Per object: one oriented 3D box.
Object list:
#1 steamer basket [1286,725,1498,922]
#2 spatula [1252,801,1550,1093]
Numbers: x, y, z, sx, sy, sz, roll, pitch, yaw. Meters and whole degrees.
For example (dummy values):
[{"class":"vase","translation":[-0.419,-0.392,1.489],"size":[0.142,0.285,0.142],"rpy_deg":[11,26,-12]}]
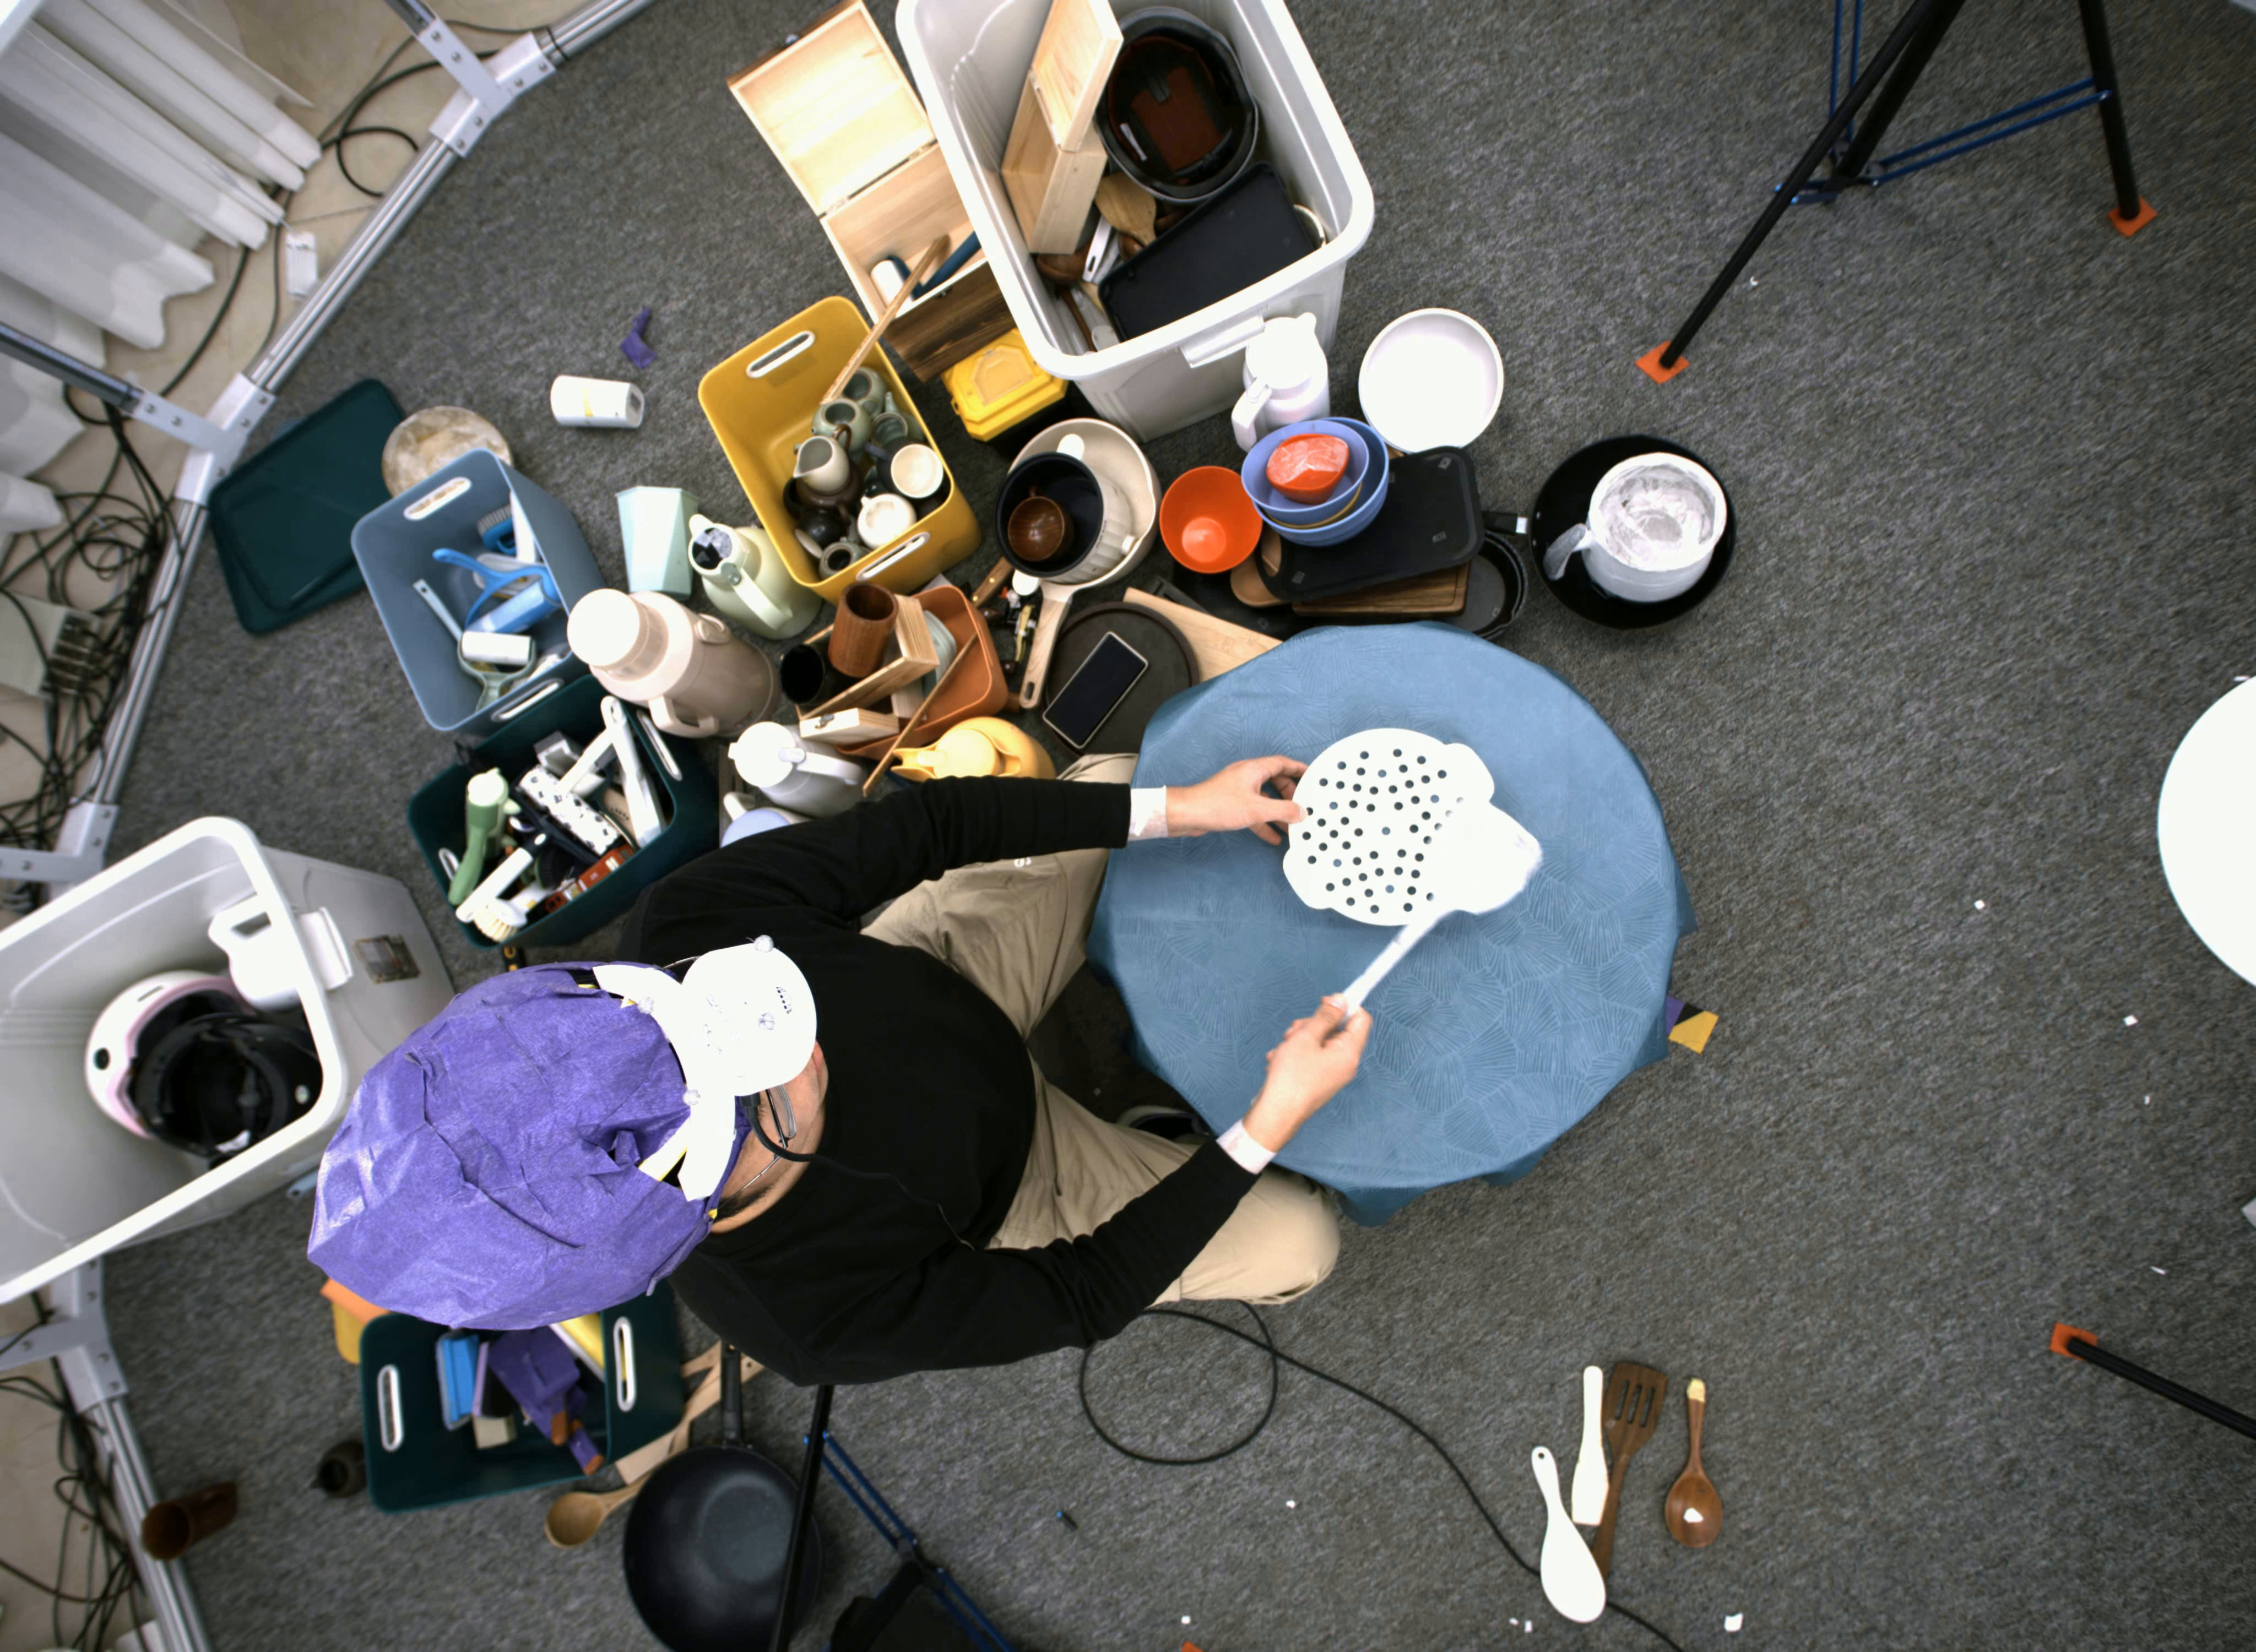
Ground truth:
[{"class":"steamer basket","translation":[0.272,-0.002,1.426],"size":[0.232,0.069,0.201],"rpy_deg":[-33,82,8]},{"class":"spatula","translation":[0.252,0.128,1.326],"size":[0.364,0.045,0.098],"rpy_deg":[-45,70,-1]}]
